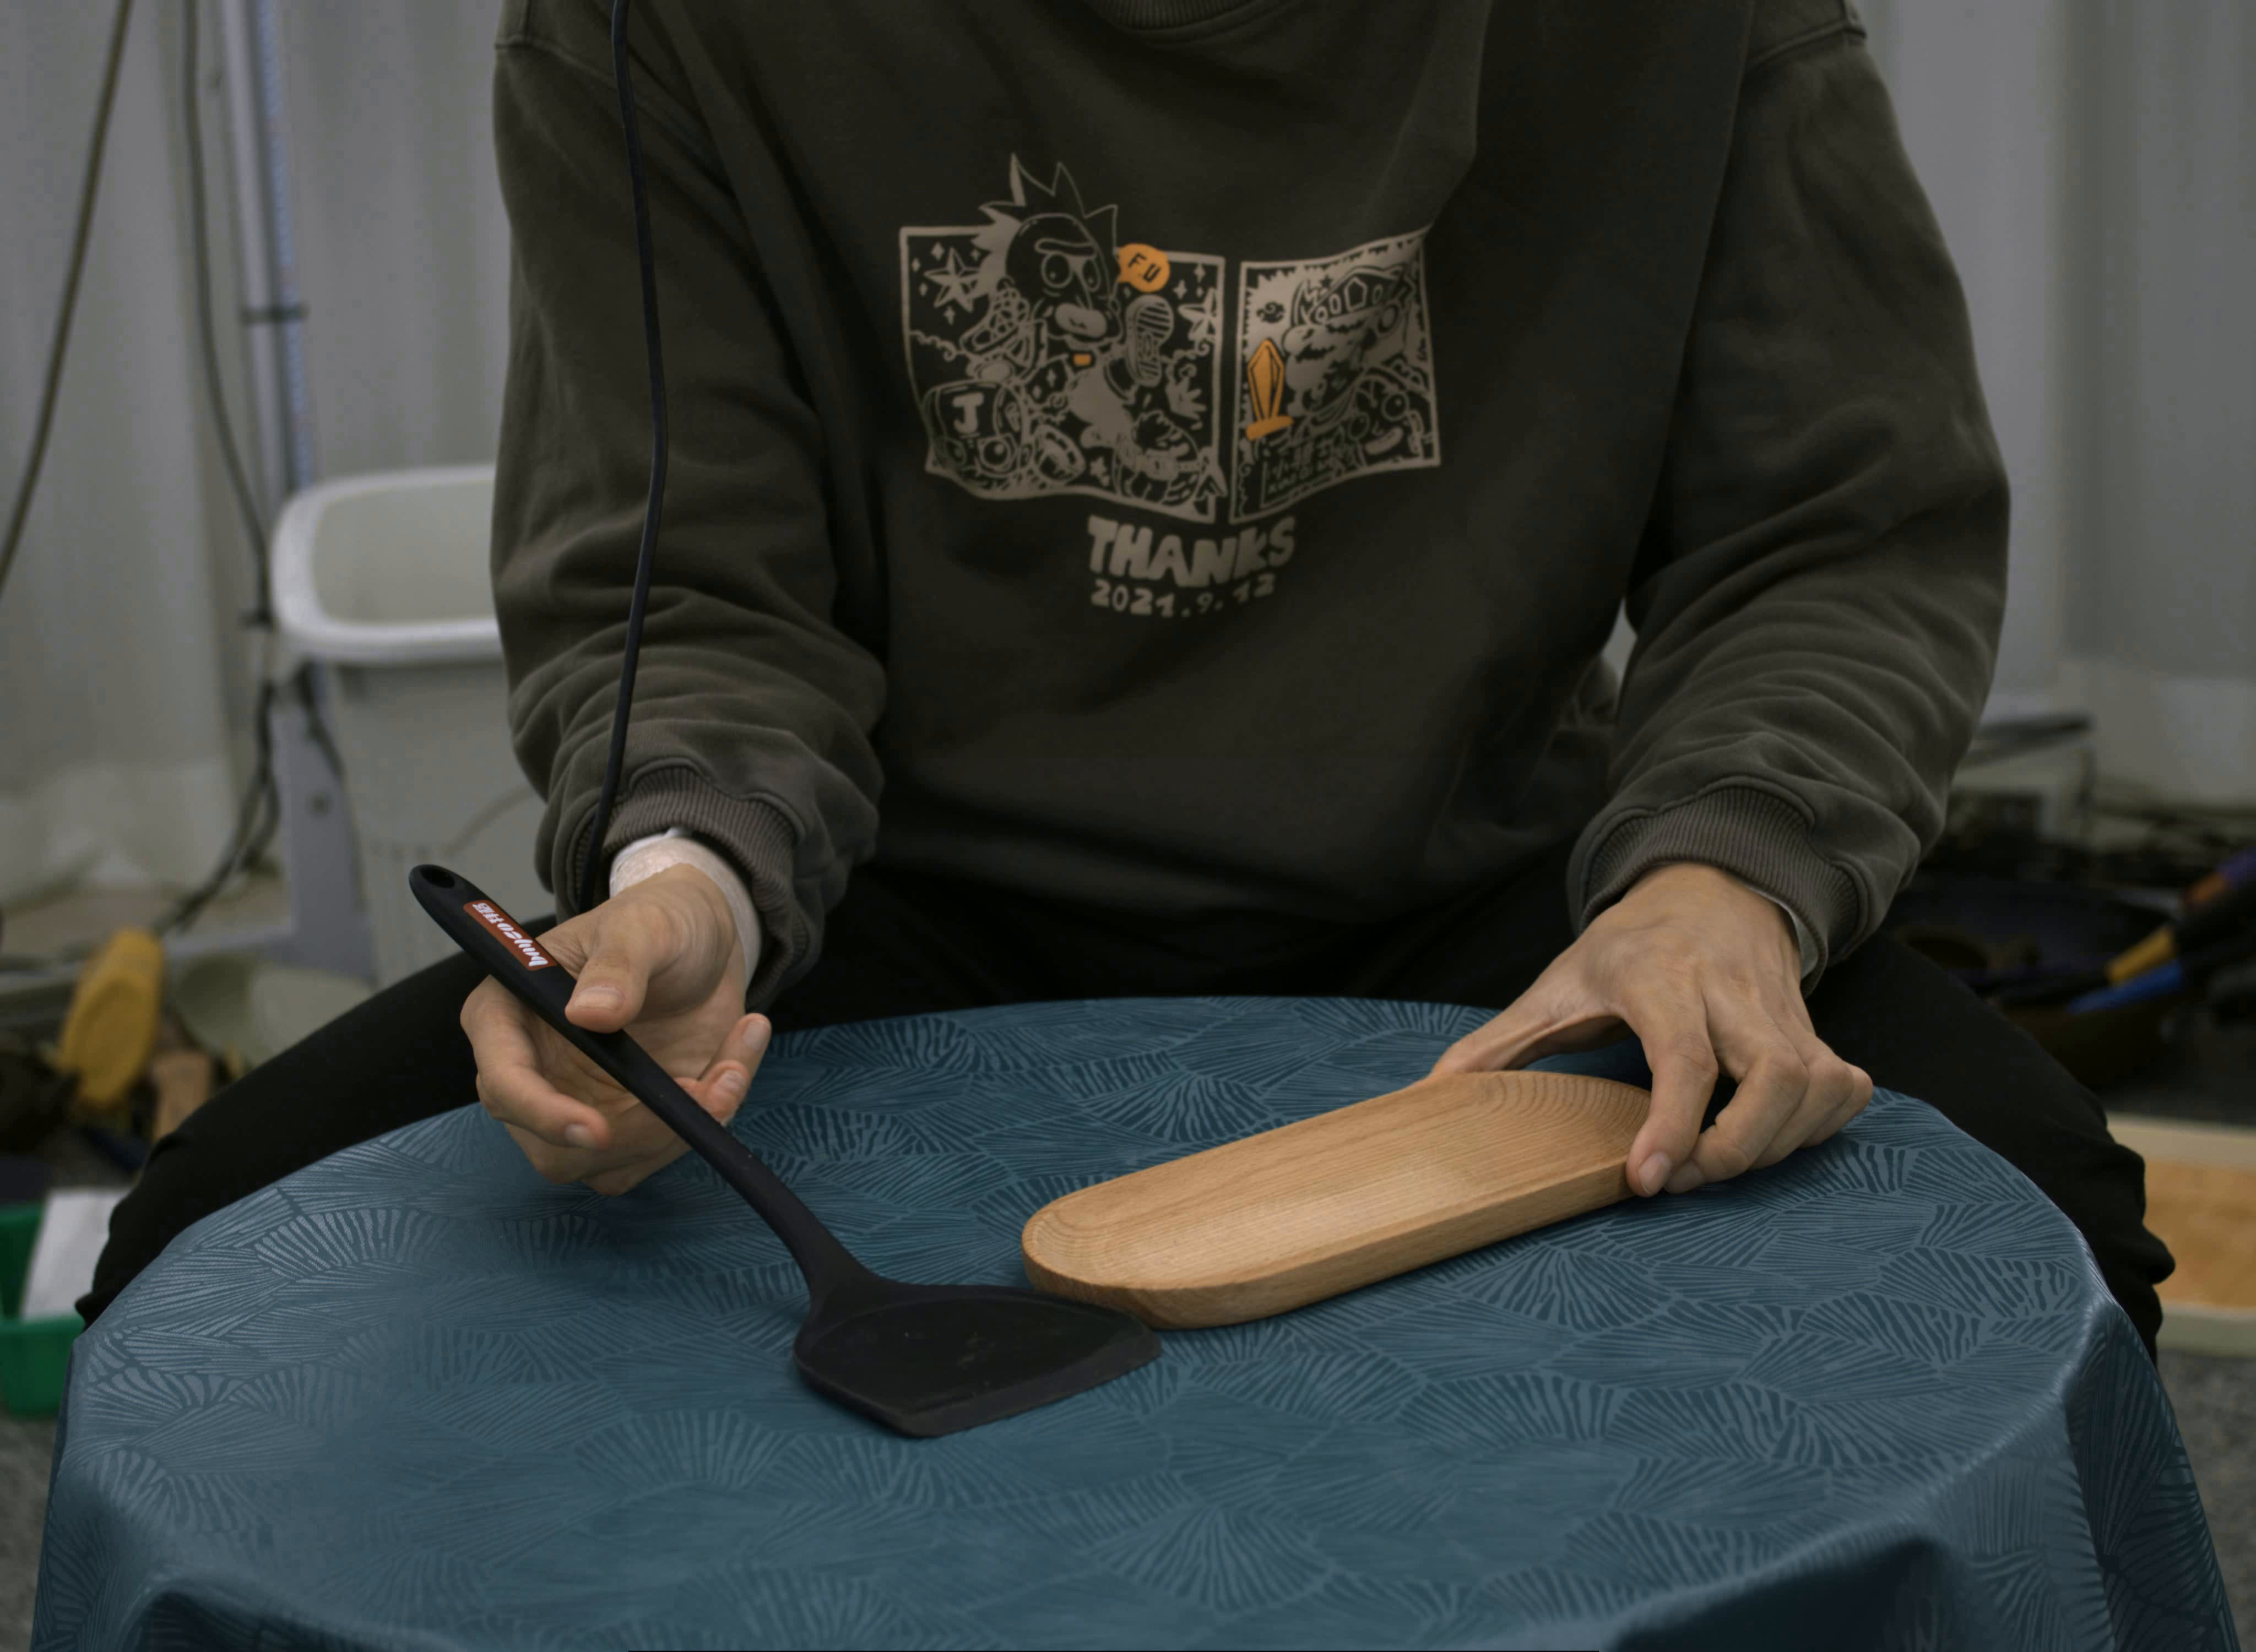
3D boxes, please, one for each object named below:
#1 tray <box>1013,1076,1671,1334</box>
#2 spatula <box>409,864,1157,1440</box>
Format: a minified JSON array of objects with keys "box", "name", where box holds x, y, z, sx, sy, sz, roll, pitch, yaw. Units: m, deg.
[{"box":[0.068,0.115,1.675,0.230,0.020,0.102,-16,20,-35],"name":"tray"},{"box":[-0.125,0.090,1.651,0.099,0.040,0.330,-13,41,-39],"name":"spatula"}]
